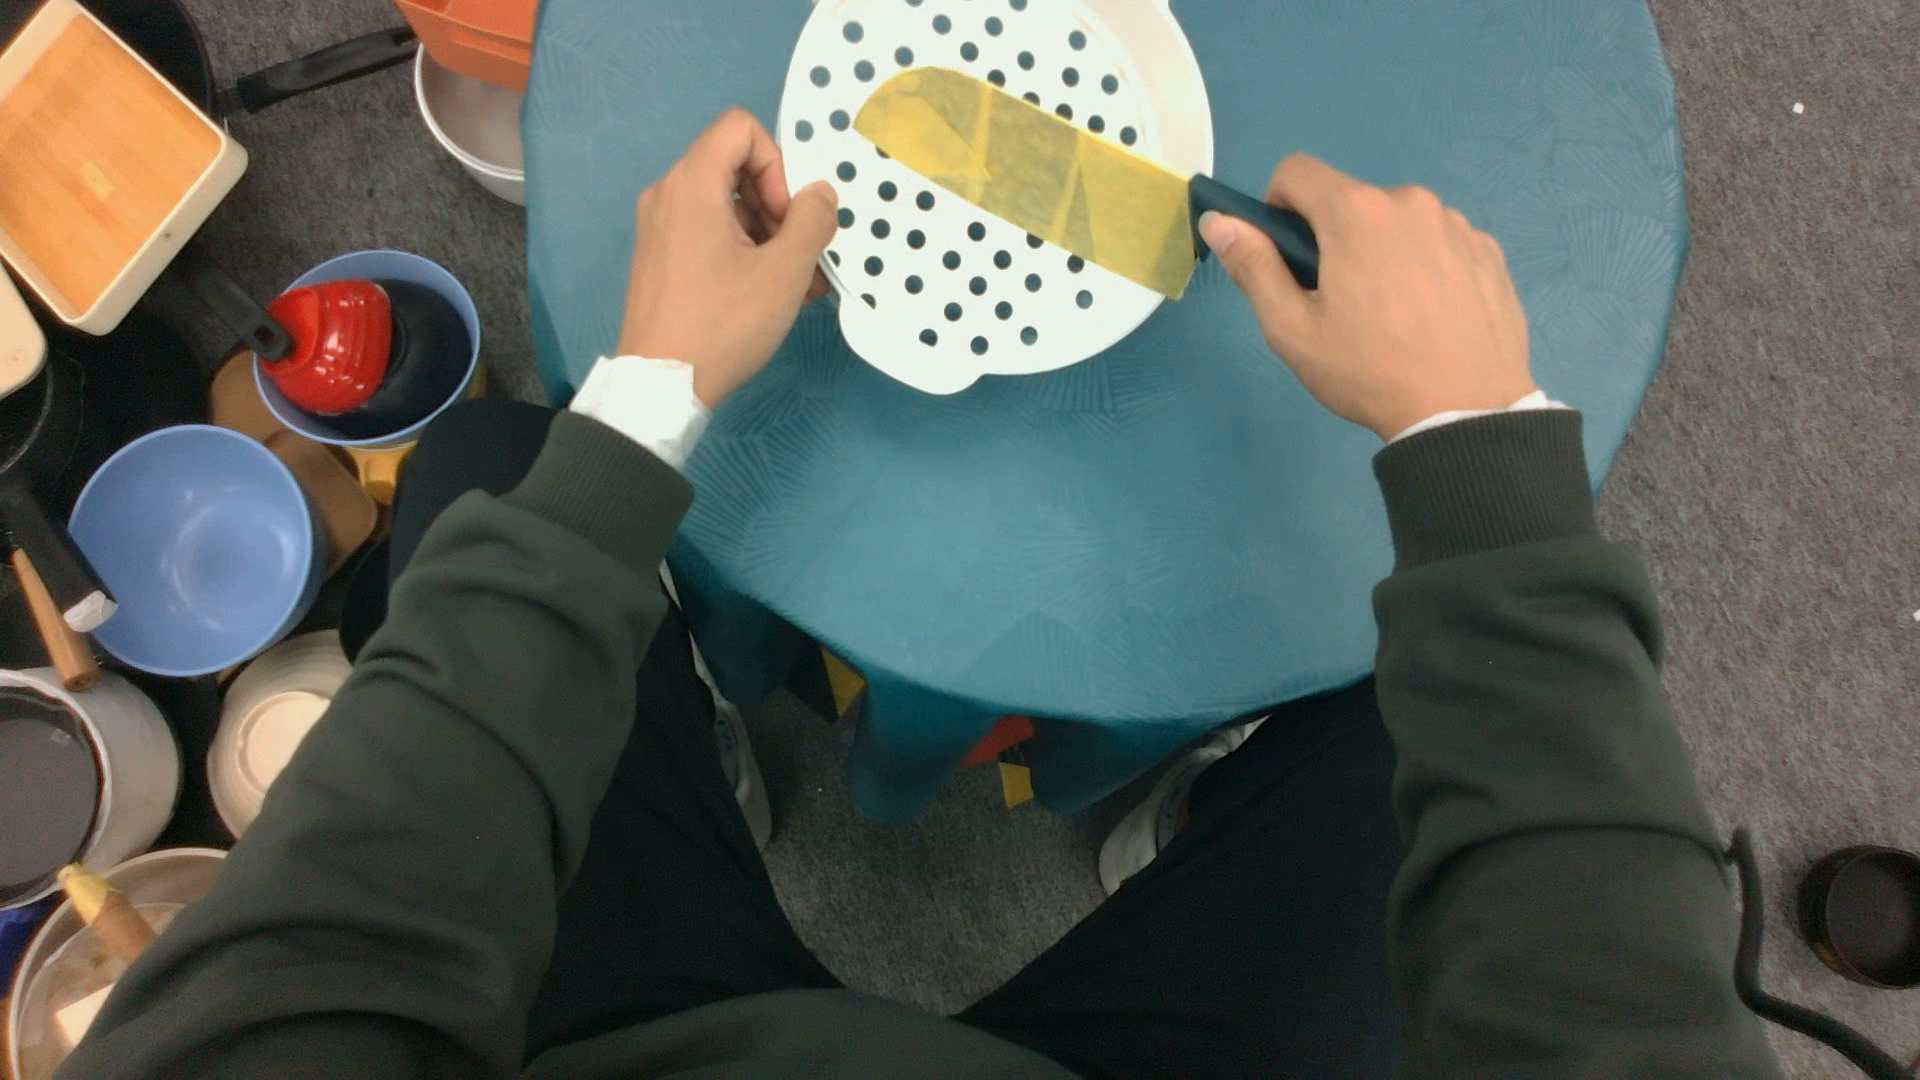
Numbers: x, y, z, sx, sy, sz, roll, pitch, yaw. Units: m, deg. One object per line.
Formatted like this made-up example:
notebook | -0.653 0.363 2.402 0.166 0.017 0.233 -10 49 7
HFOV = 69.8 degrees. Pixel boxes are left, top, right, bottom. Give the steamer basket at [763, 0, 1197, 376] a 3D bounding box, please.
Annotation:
steamer basket | 0.007 -0.186 0.647 0.202 0.069 0.230 27 87 -16

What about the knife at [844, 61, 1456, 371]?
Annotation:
knife | 0.074 -0.138 0.598 0.289 0.080 0.027 27 65 11
